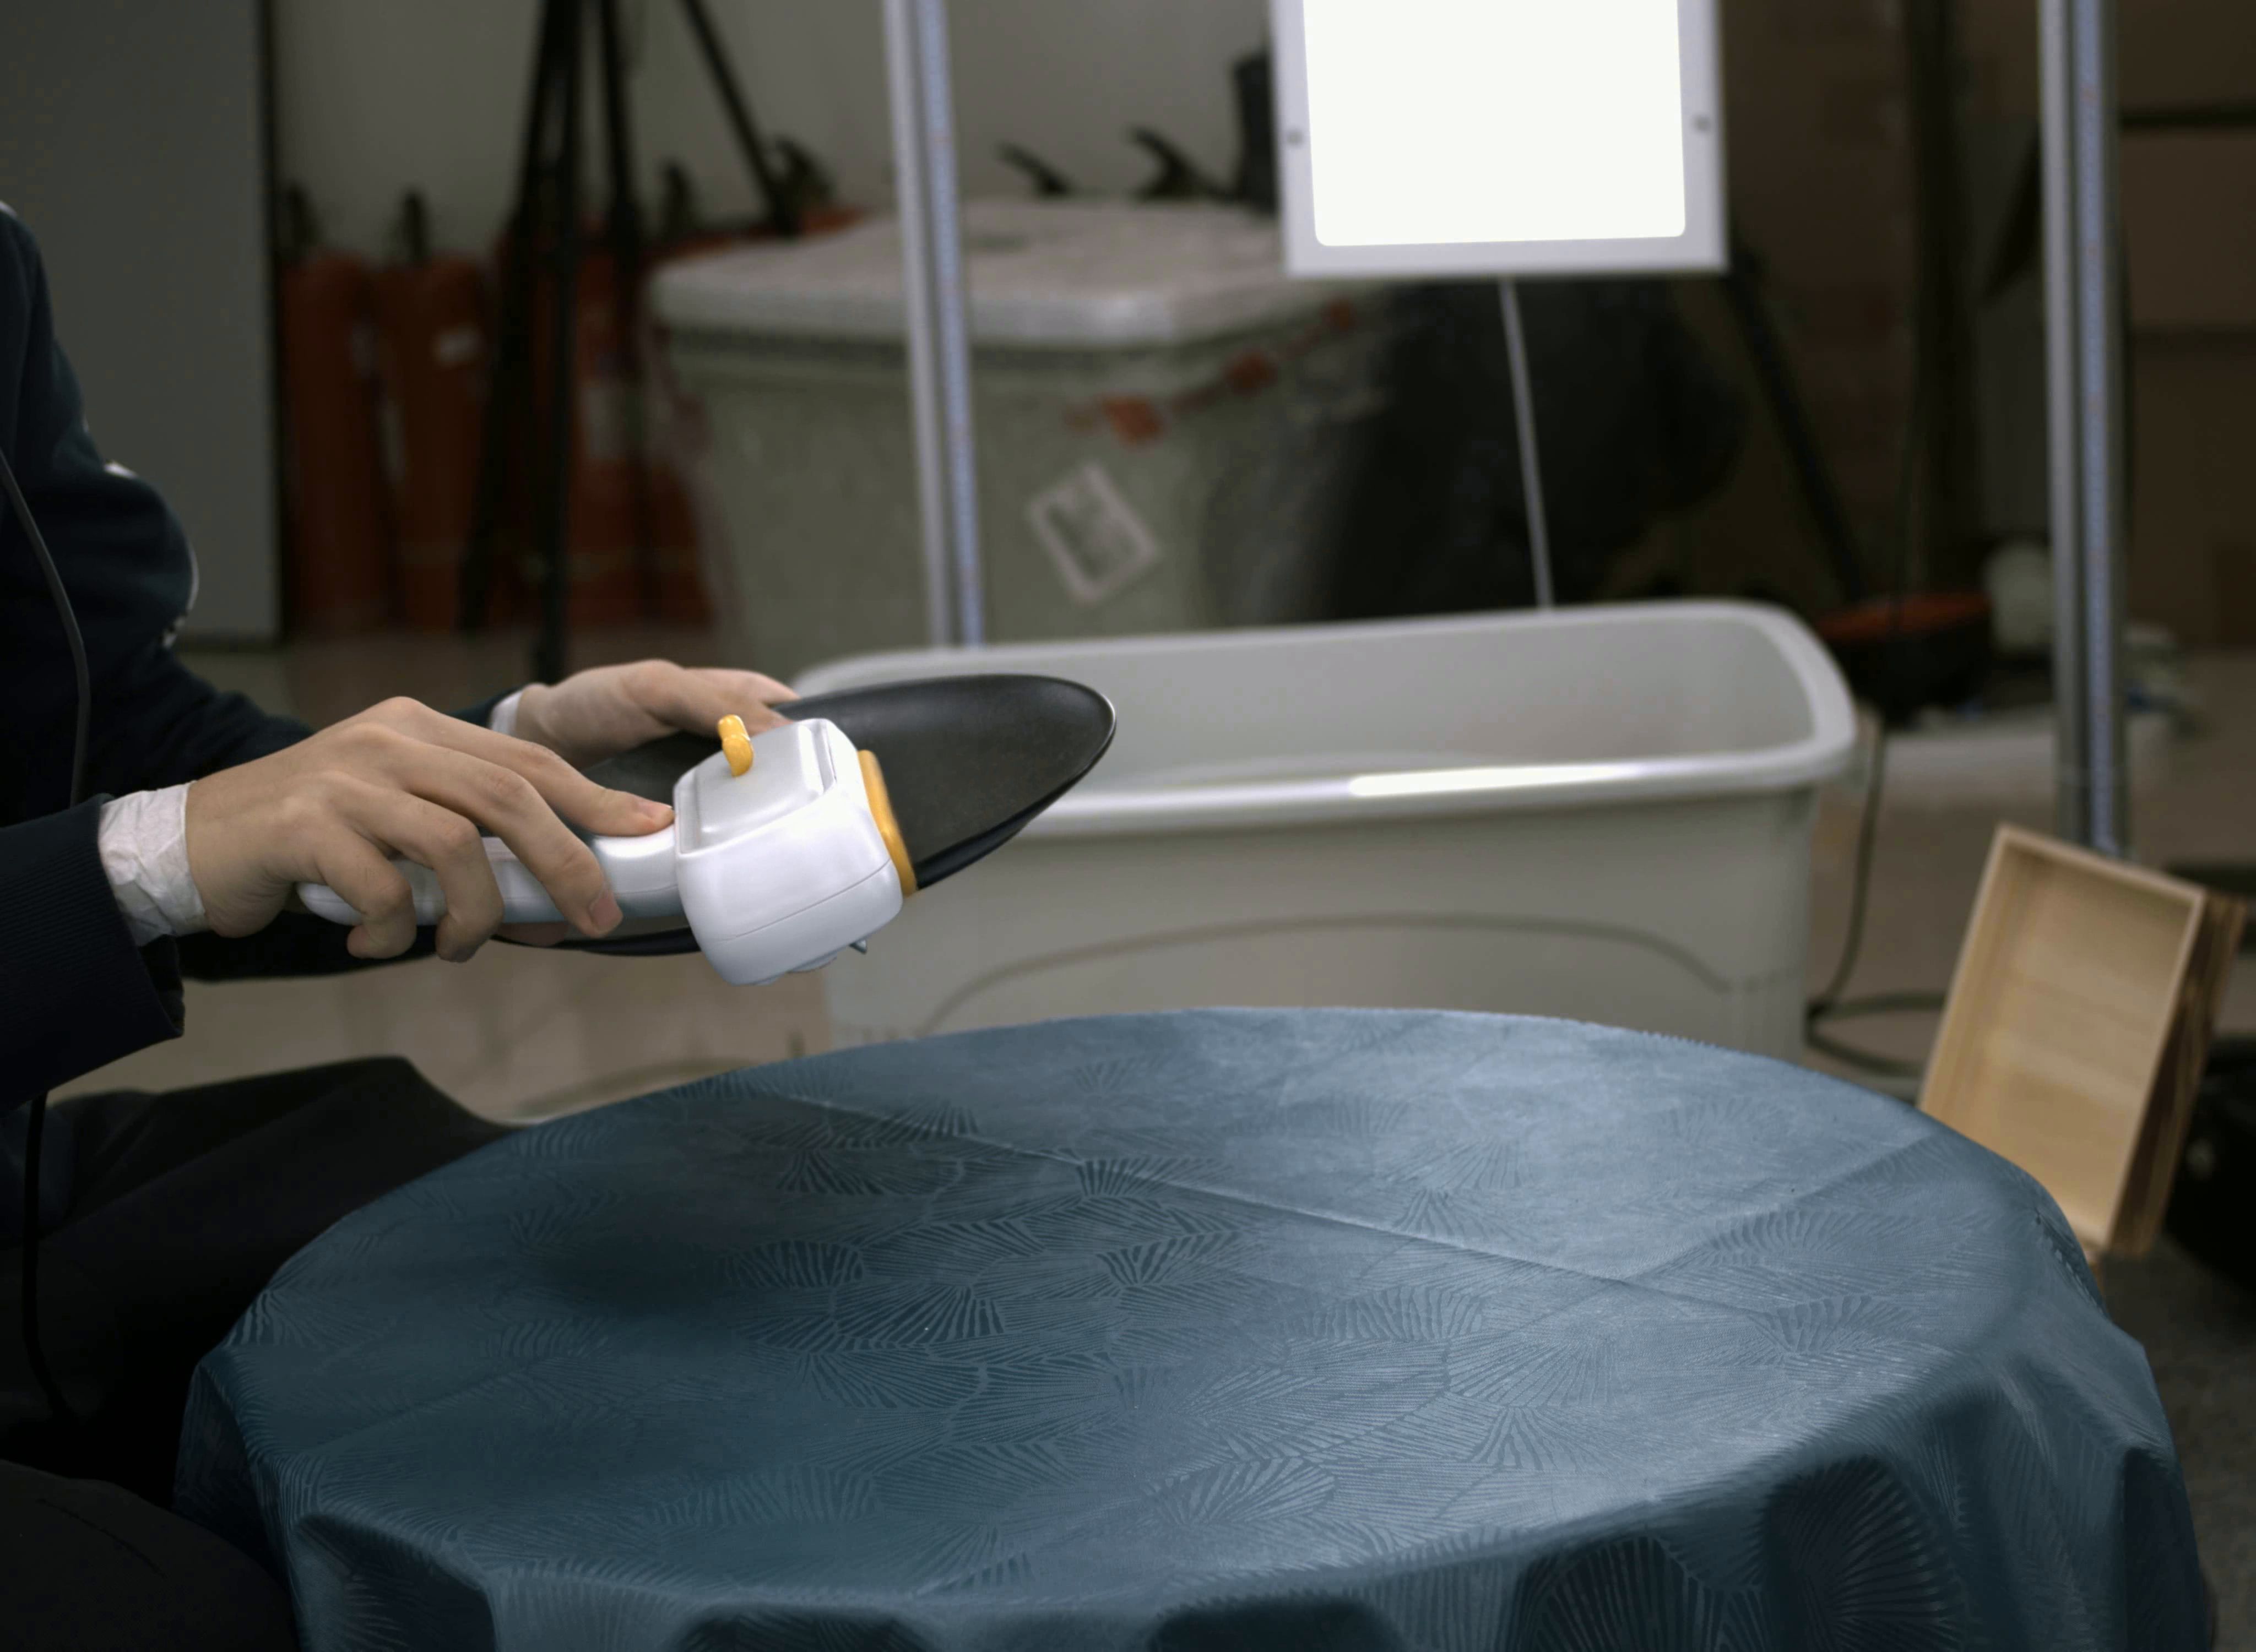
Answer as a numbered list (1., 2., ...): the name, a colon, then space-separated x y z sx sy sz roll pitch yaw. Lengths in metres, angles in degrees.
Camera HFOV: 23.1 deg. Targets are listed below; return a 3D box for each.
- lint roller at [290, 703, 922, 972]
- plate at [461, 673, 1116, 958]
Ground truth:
1. lint roller: -0.168 0.014 1.757 0.191 0.074 0.194 -17 15 -5
2. plate: -0.119 0.000 1.922 0.244 0.023 0.244 -15 17 3
